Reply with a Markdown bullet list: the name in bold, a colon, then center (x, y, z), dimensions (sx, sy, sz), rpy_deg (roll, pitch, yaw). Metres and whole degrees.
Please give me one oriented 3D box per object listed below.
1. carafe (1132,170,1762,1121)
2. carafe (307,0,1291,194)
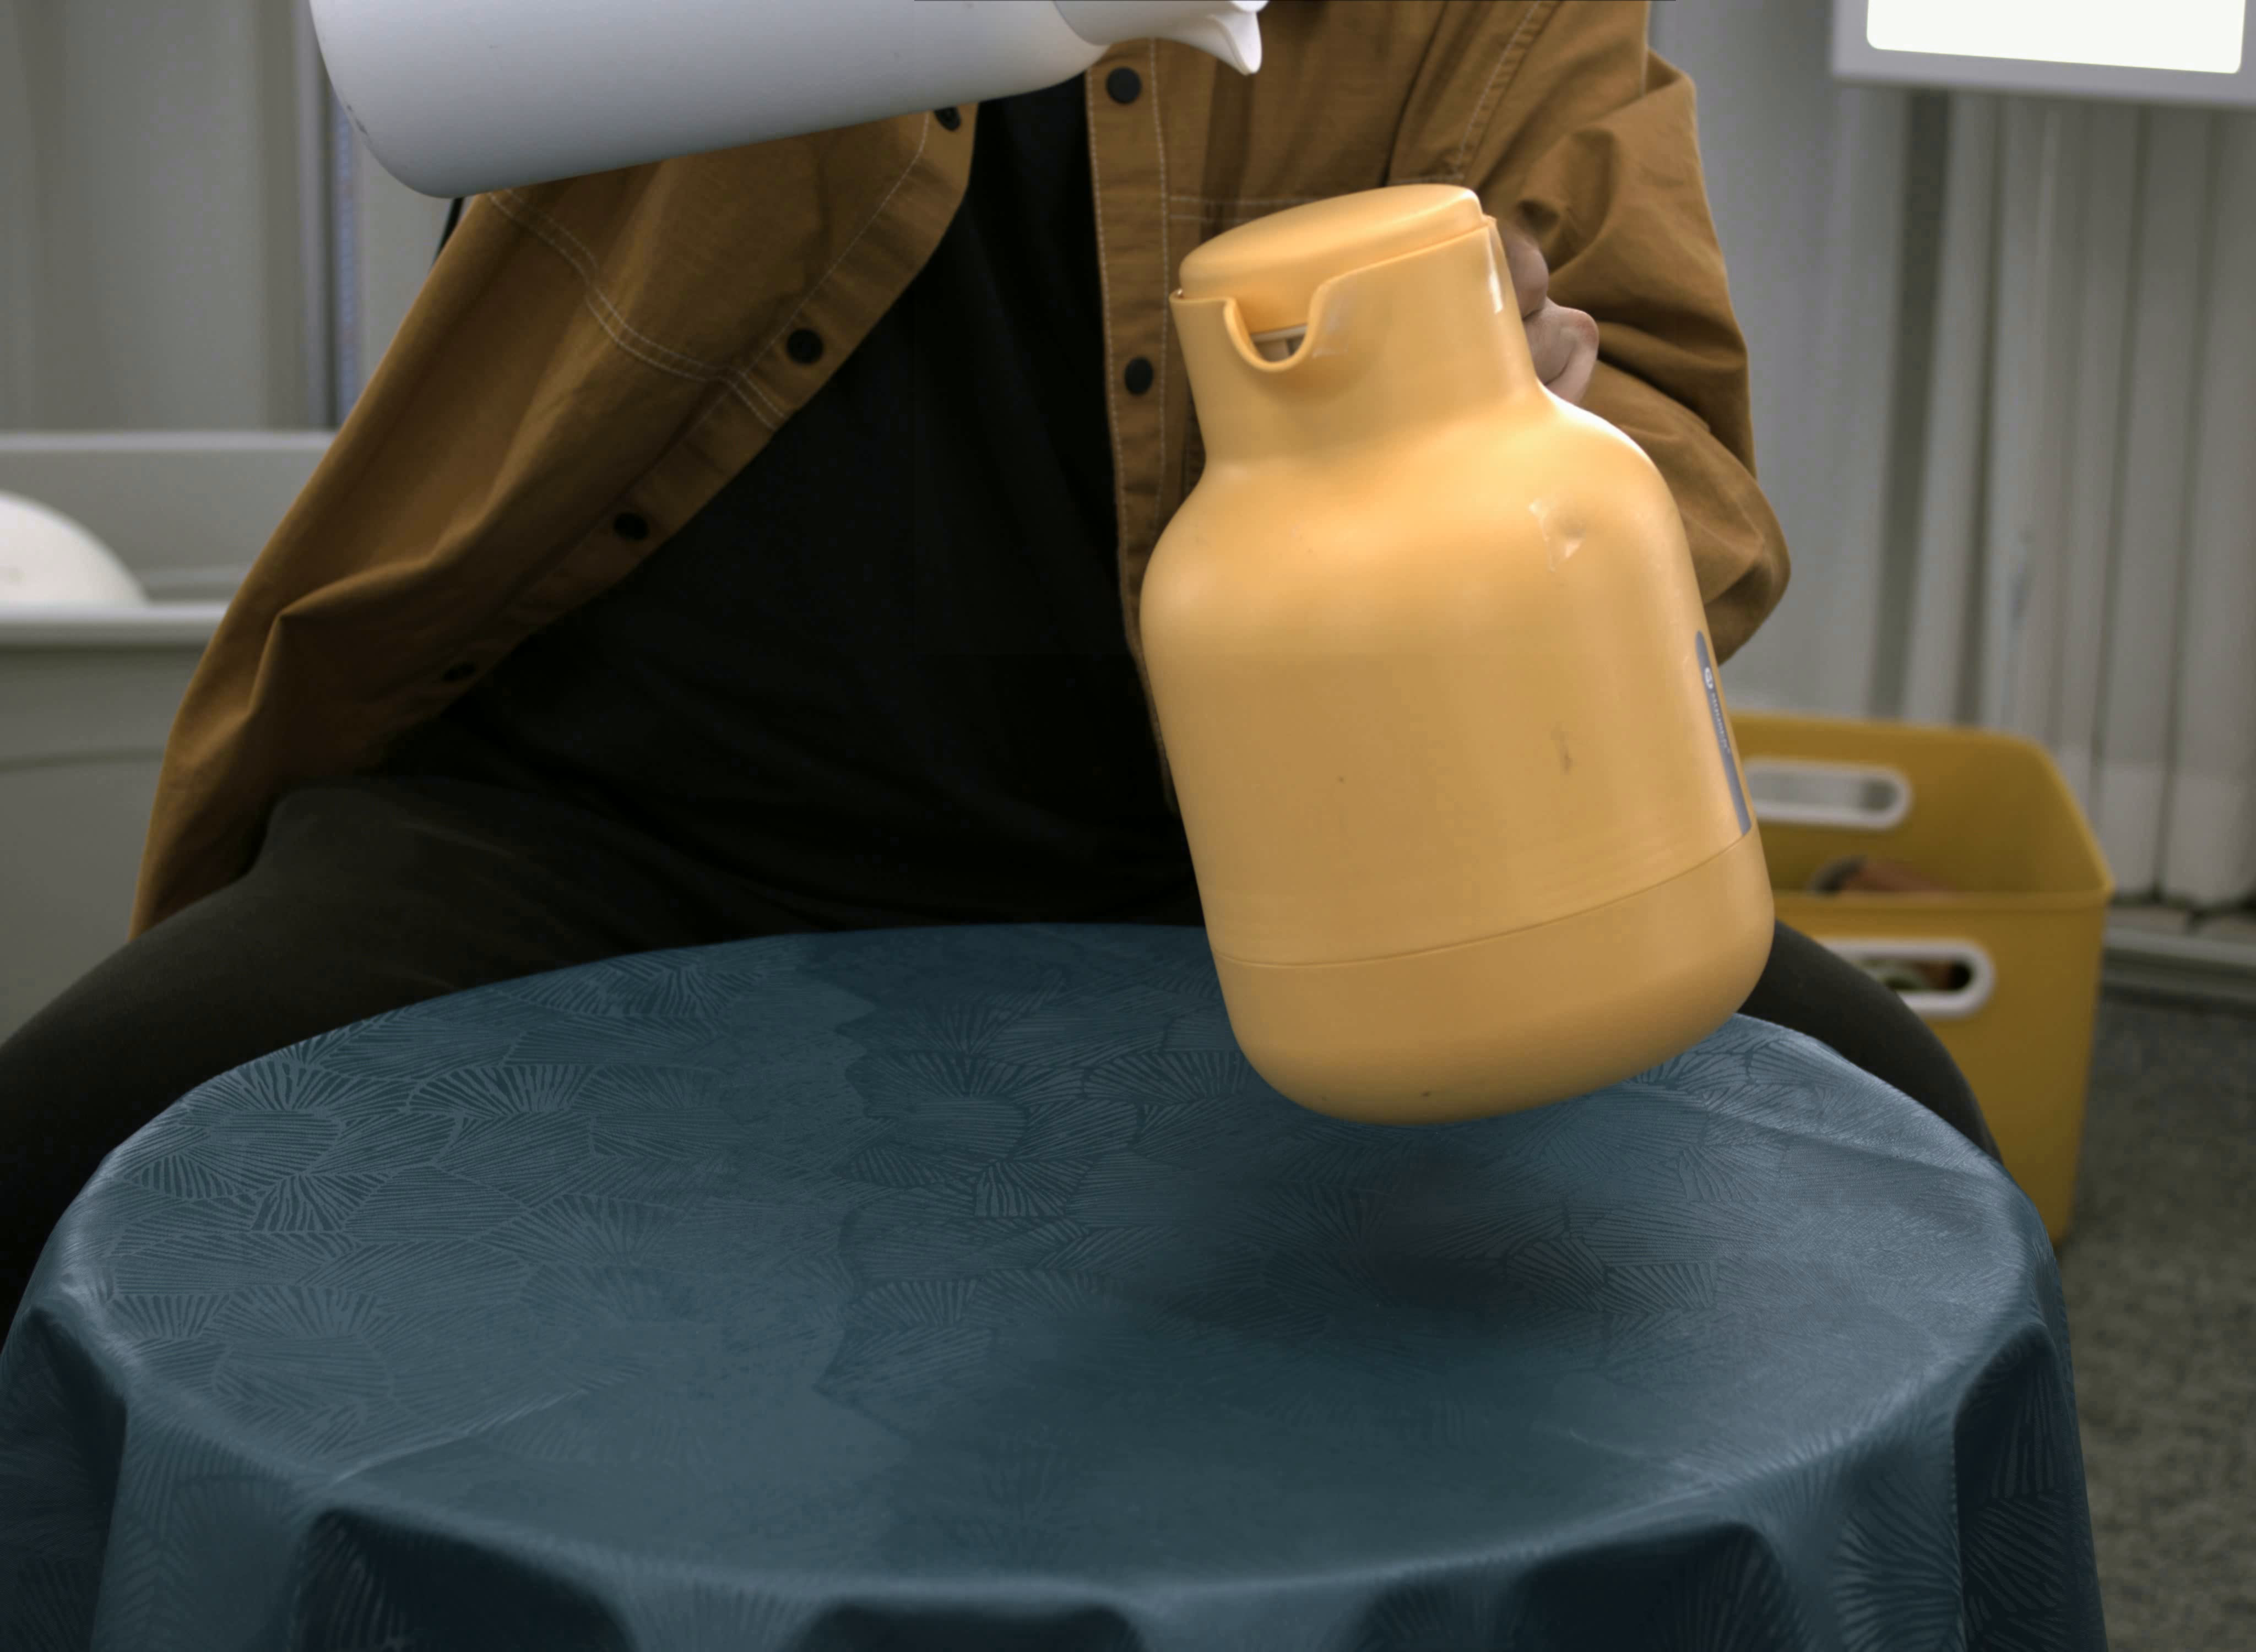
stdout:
- **carafe**: center (0.091, -0.061, 1.531), dimensions (0.162, 0.262, 0.202), rpy_deg (-6, 15, 21)
- **carafe**: center (-0.100, -0.274, 1.492), dimensions (0.266, 0.175, 0.123), rpy_deg (-7, 29, 22)
